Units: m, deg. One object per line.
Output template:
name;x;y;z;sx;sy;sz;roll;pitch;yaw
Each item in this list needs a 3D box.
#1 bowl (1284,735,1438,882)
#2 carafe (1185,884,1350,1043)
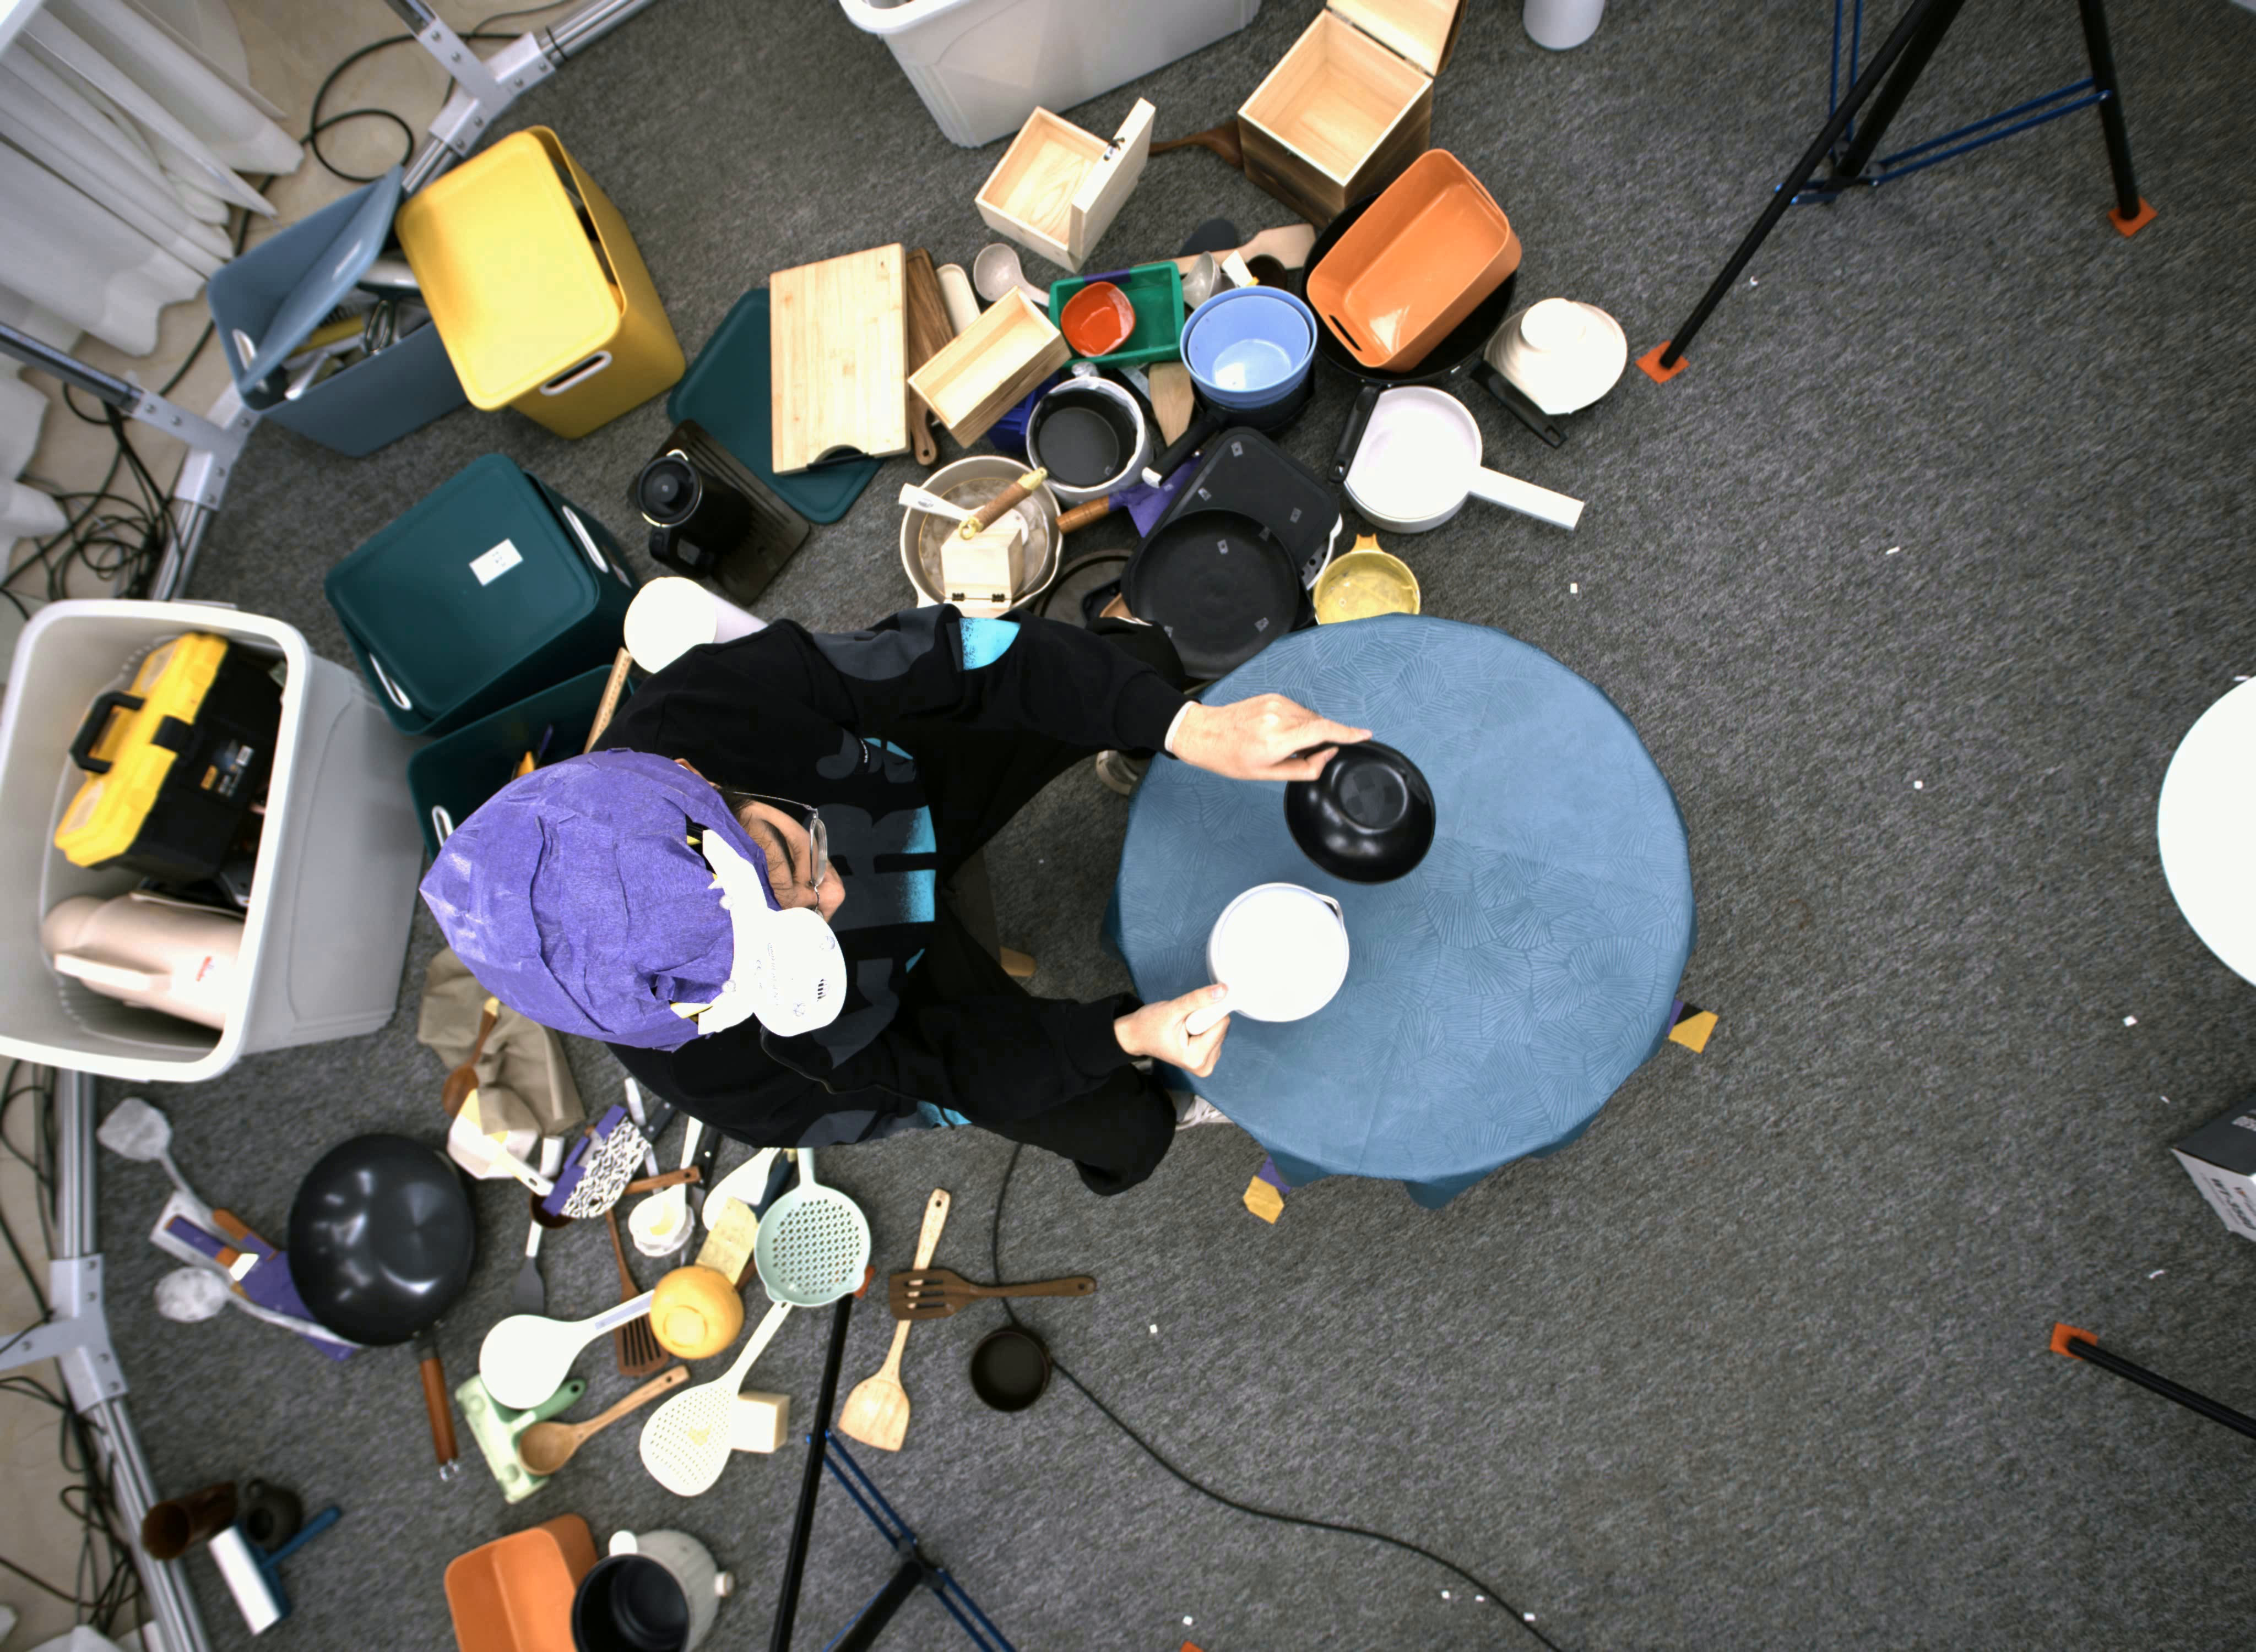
bowl;0.212;-0.023;1.229;0.140;0.048;0.143;14;122;23
carafe;0.127;0.142;1.351;0.191;0.183;0.132;-42;83;0
